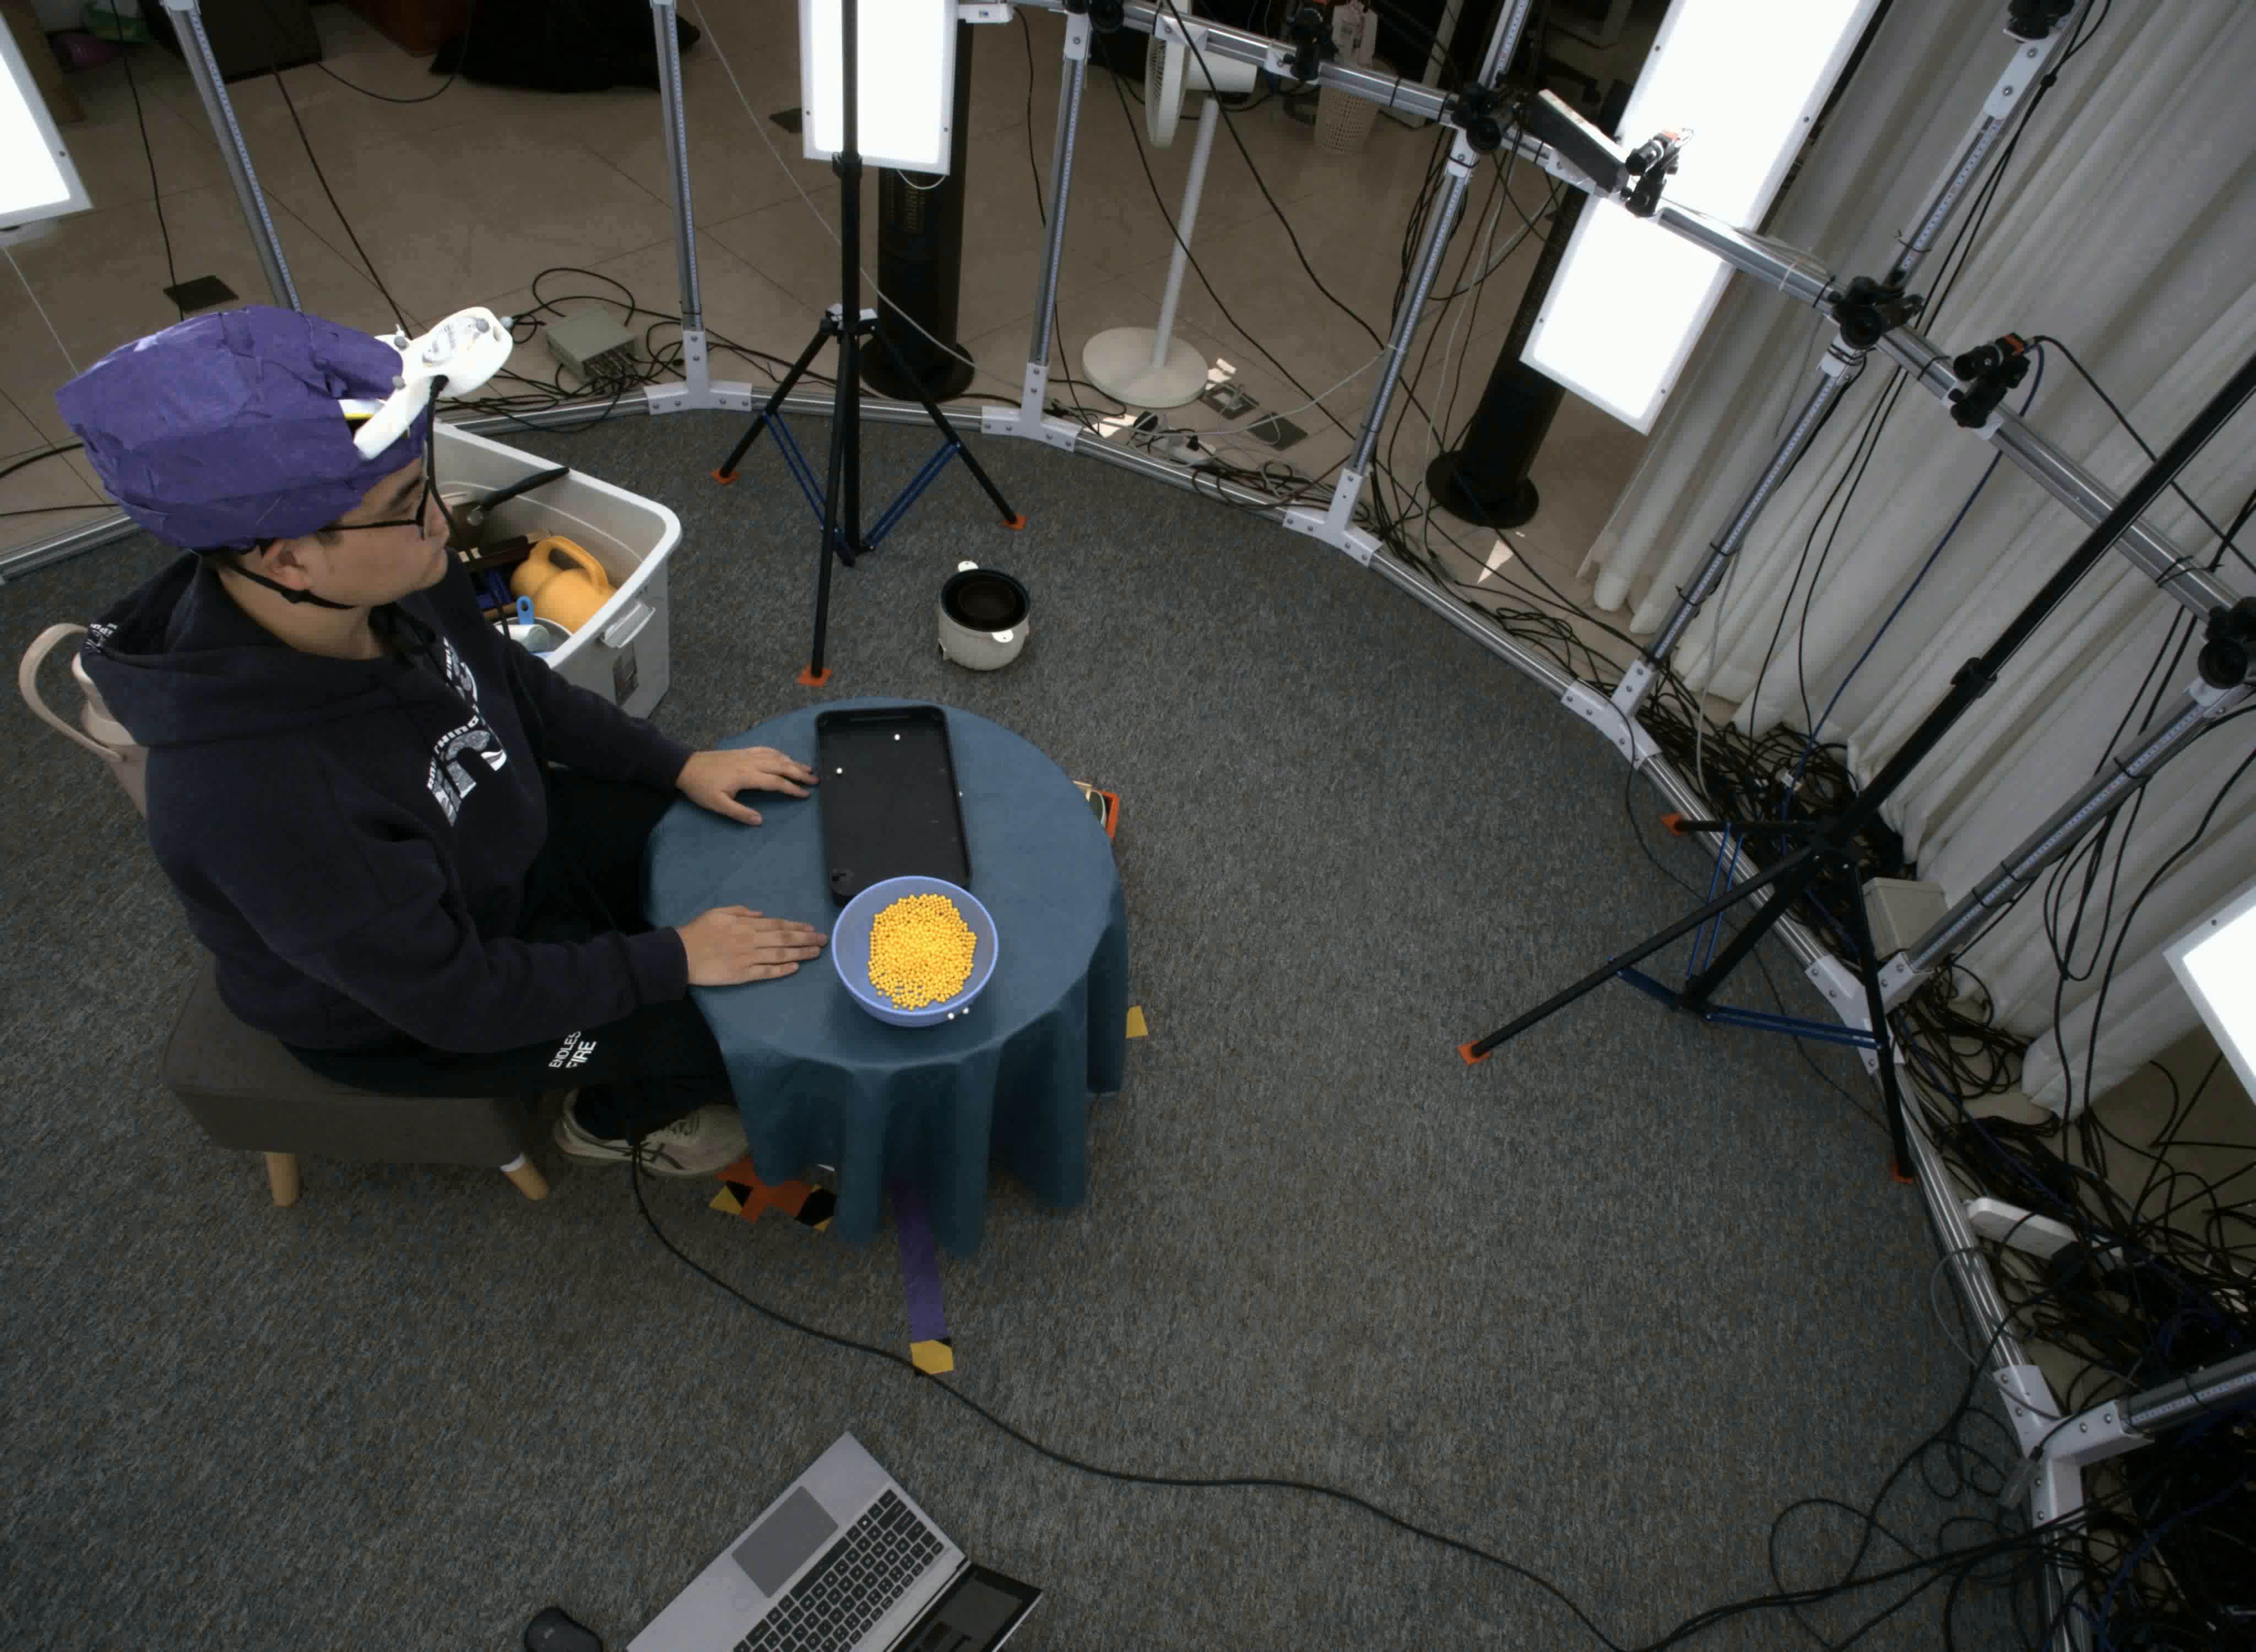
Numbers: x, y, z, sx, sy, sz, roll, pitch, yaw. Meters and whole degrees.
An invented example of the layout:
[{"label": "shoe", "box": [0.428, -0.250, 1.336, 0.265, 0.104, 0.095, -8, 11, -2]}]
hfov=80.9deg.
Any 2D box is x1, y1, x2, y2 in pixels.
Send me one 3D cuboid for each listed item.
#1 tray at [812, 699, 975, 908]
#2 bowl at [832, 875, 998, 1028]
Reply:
[{"label": "tray", "box": [-0.320, -0.037, 1.752, 0.185, 0.038, 0.311, -5, 56, -17]}, {"label": "bowl", "box": [-0.258, 0.165, 1.577, 0.196, 0.097, 0.193, 7, 53, -8]}]
